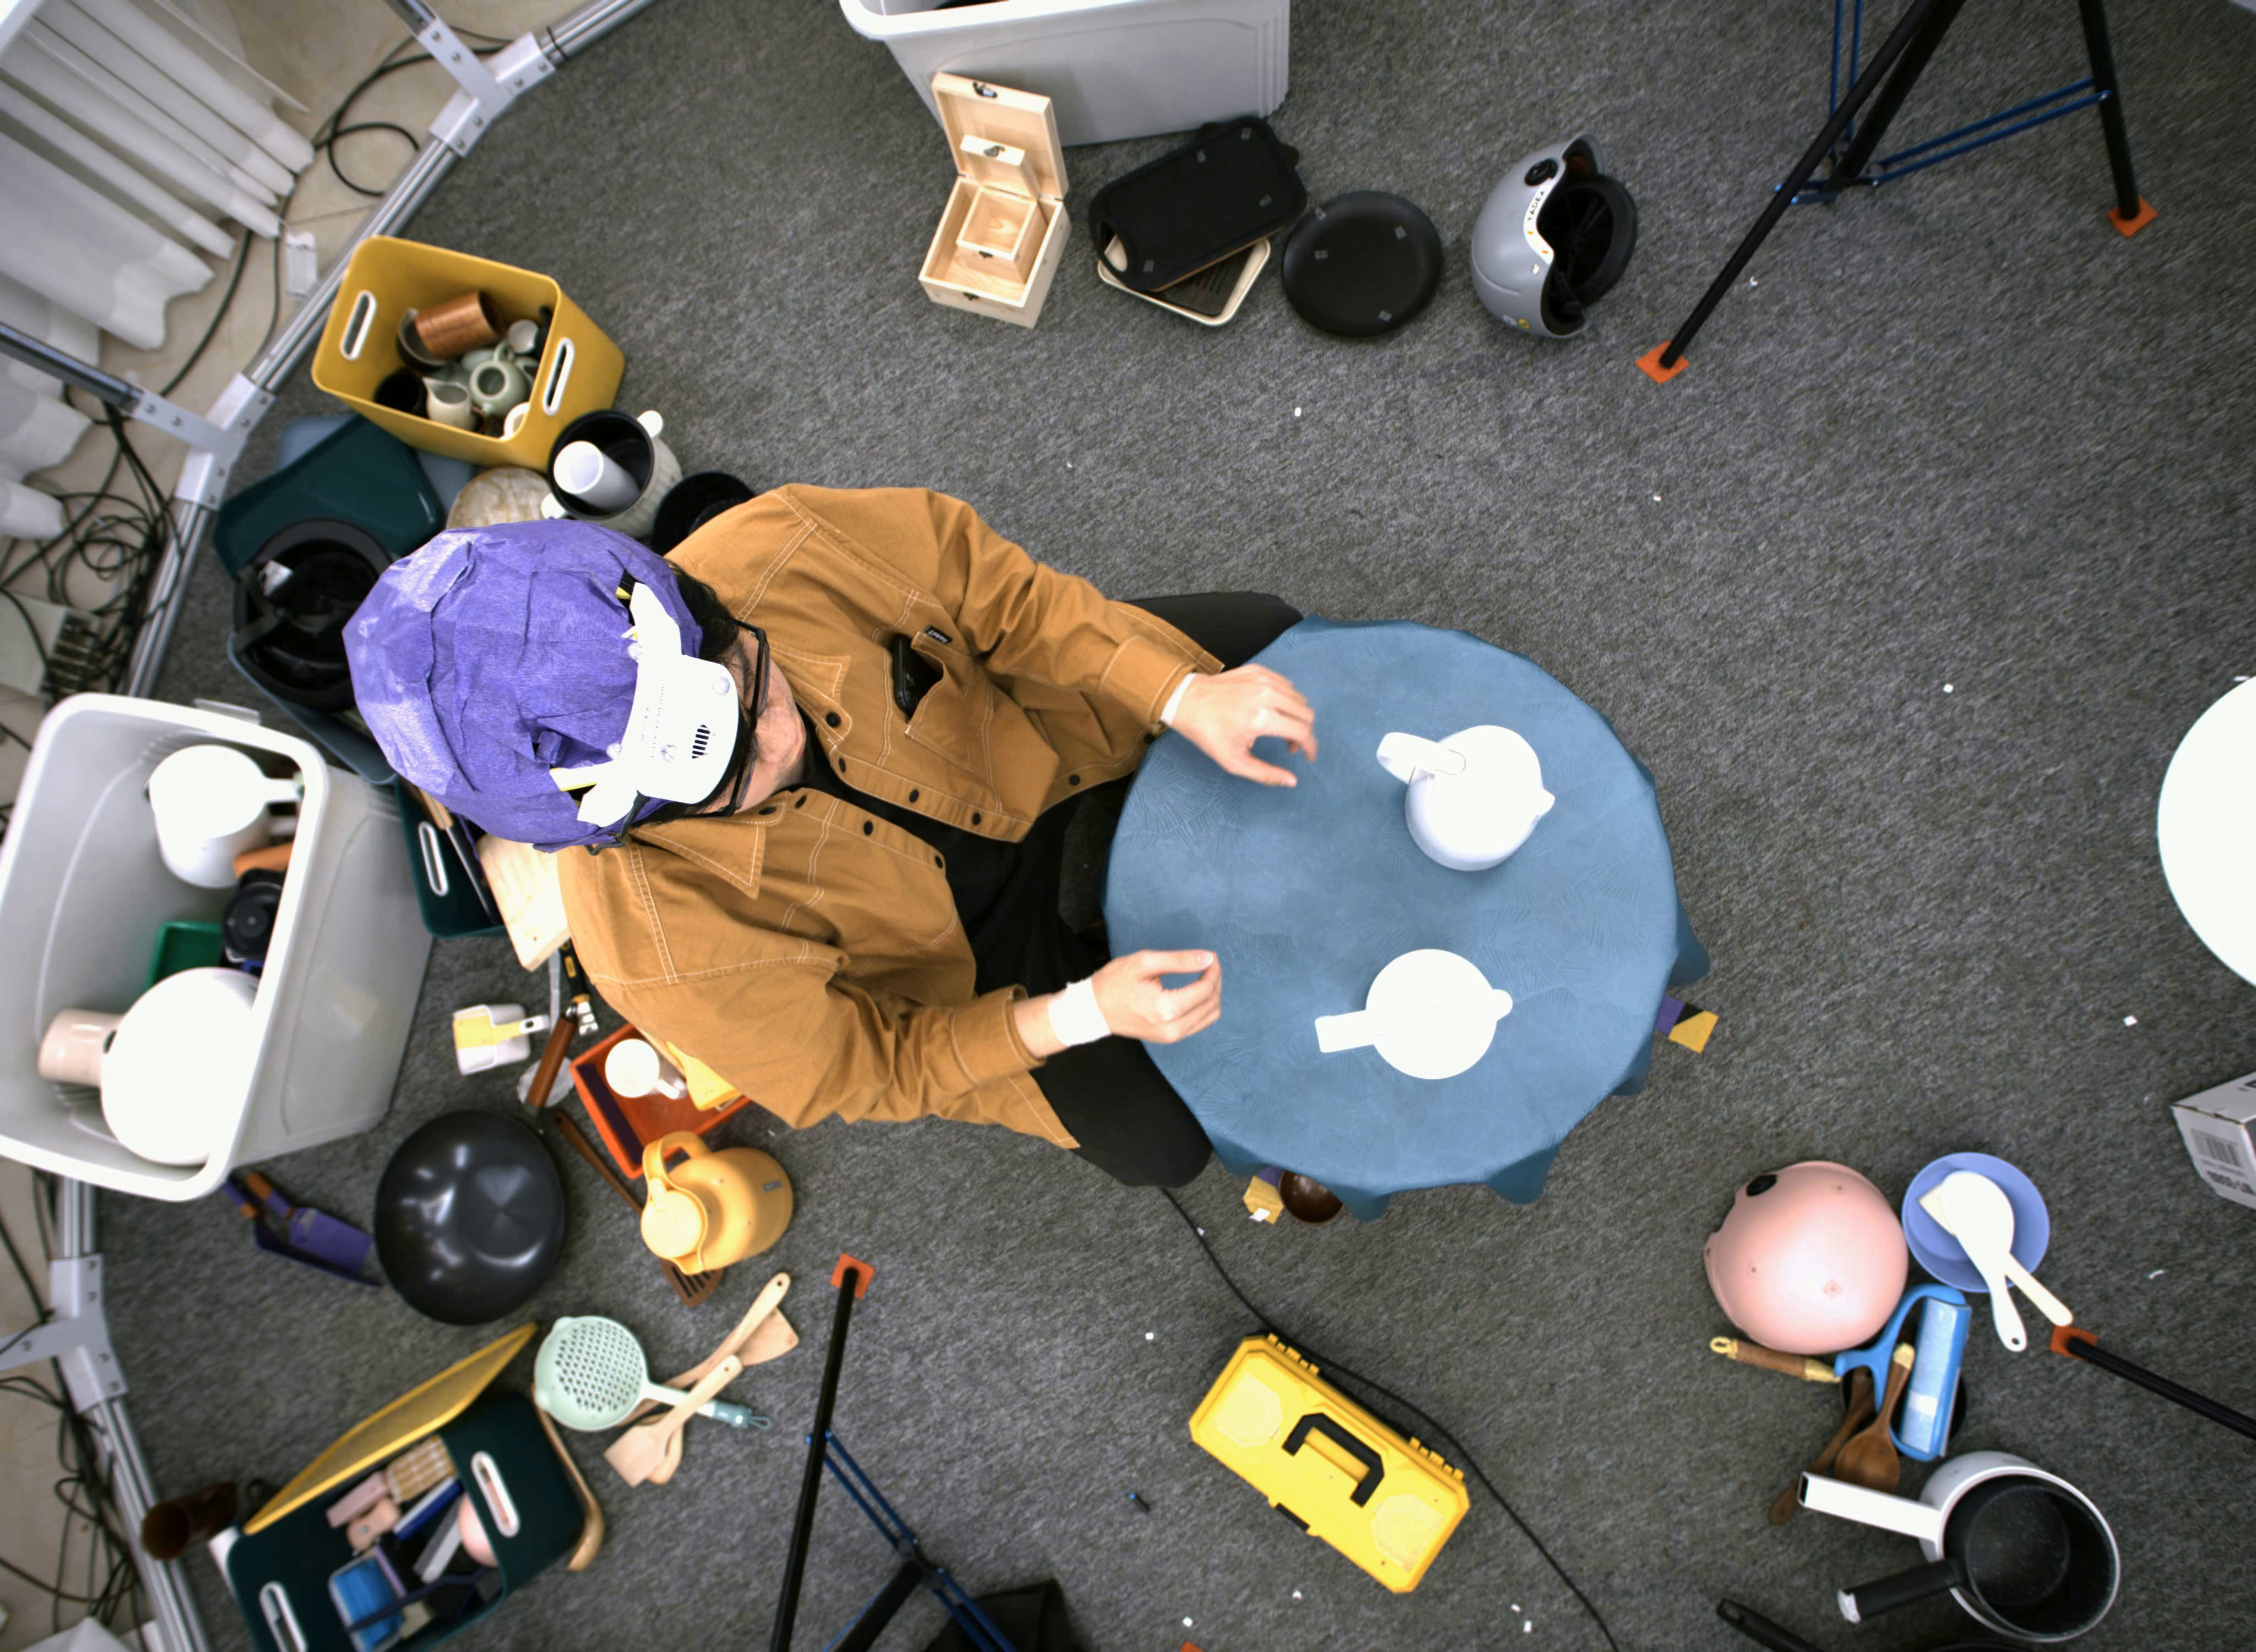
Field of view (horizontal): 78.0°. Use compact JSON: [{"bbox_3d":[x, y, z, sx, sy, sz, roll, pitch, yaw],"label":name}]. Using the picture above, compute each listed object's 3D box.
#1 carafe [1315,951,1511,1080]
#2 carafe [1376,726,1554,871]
[{"bbox_3d":[0.268,0.182,1.321,0.174,0.269,0.123,-13,84,9],"label":"carafe"},{"bbox_3d":[0.320,-0.040,1.330,0.167,0.249,0.132,25,90,12],"label":"carafe"}]
